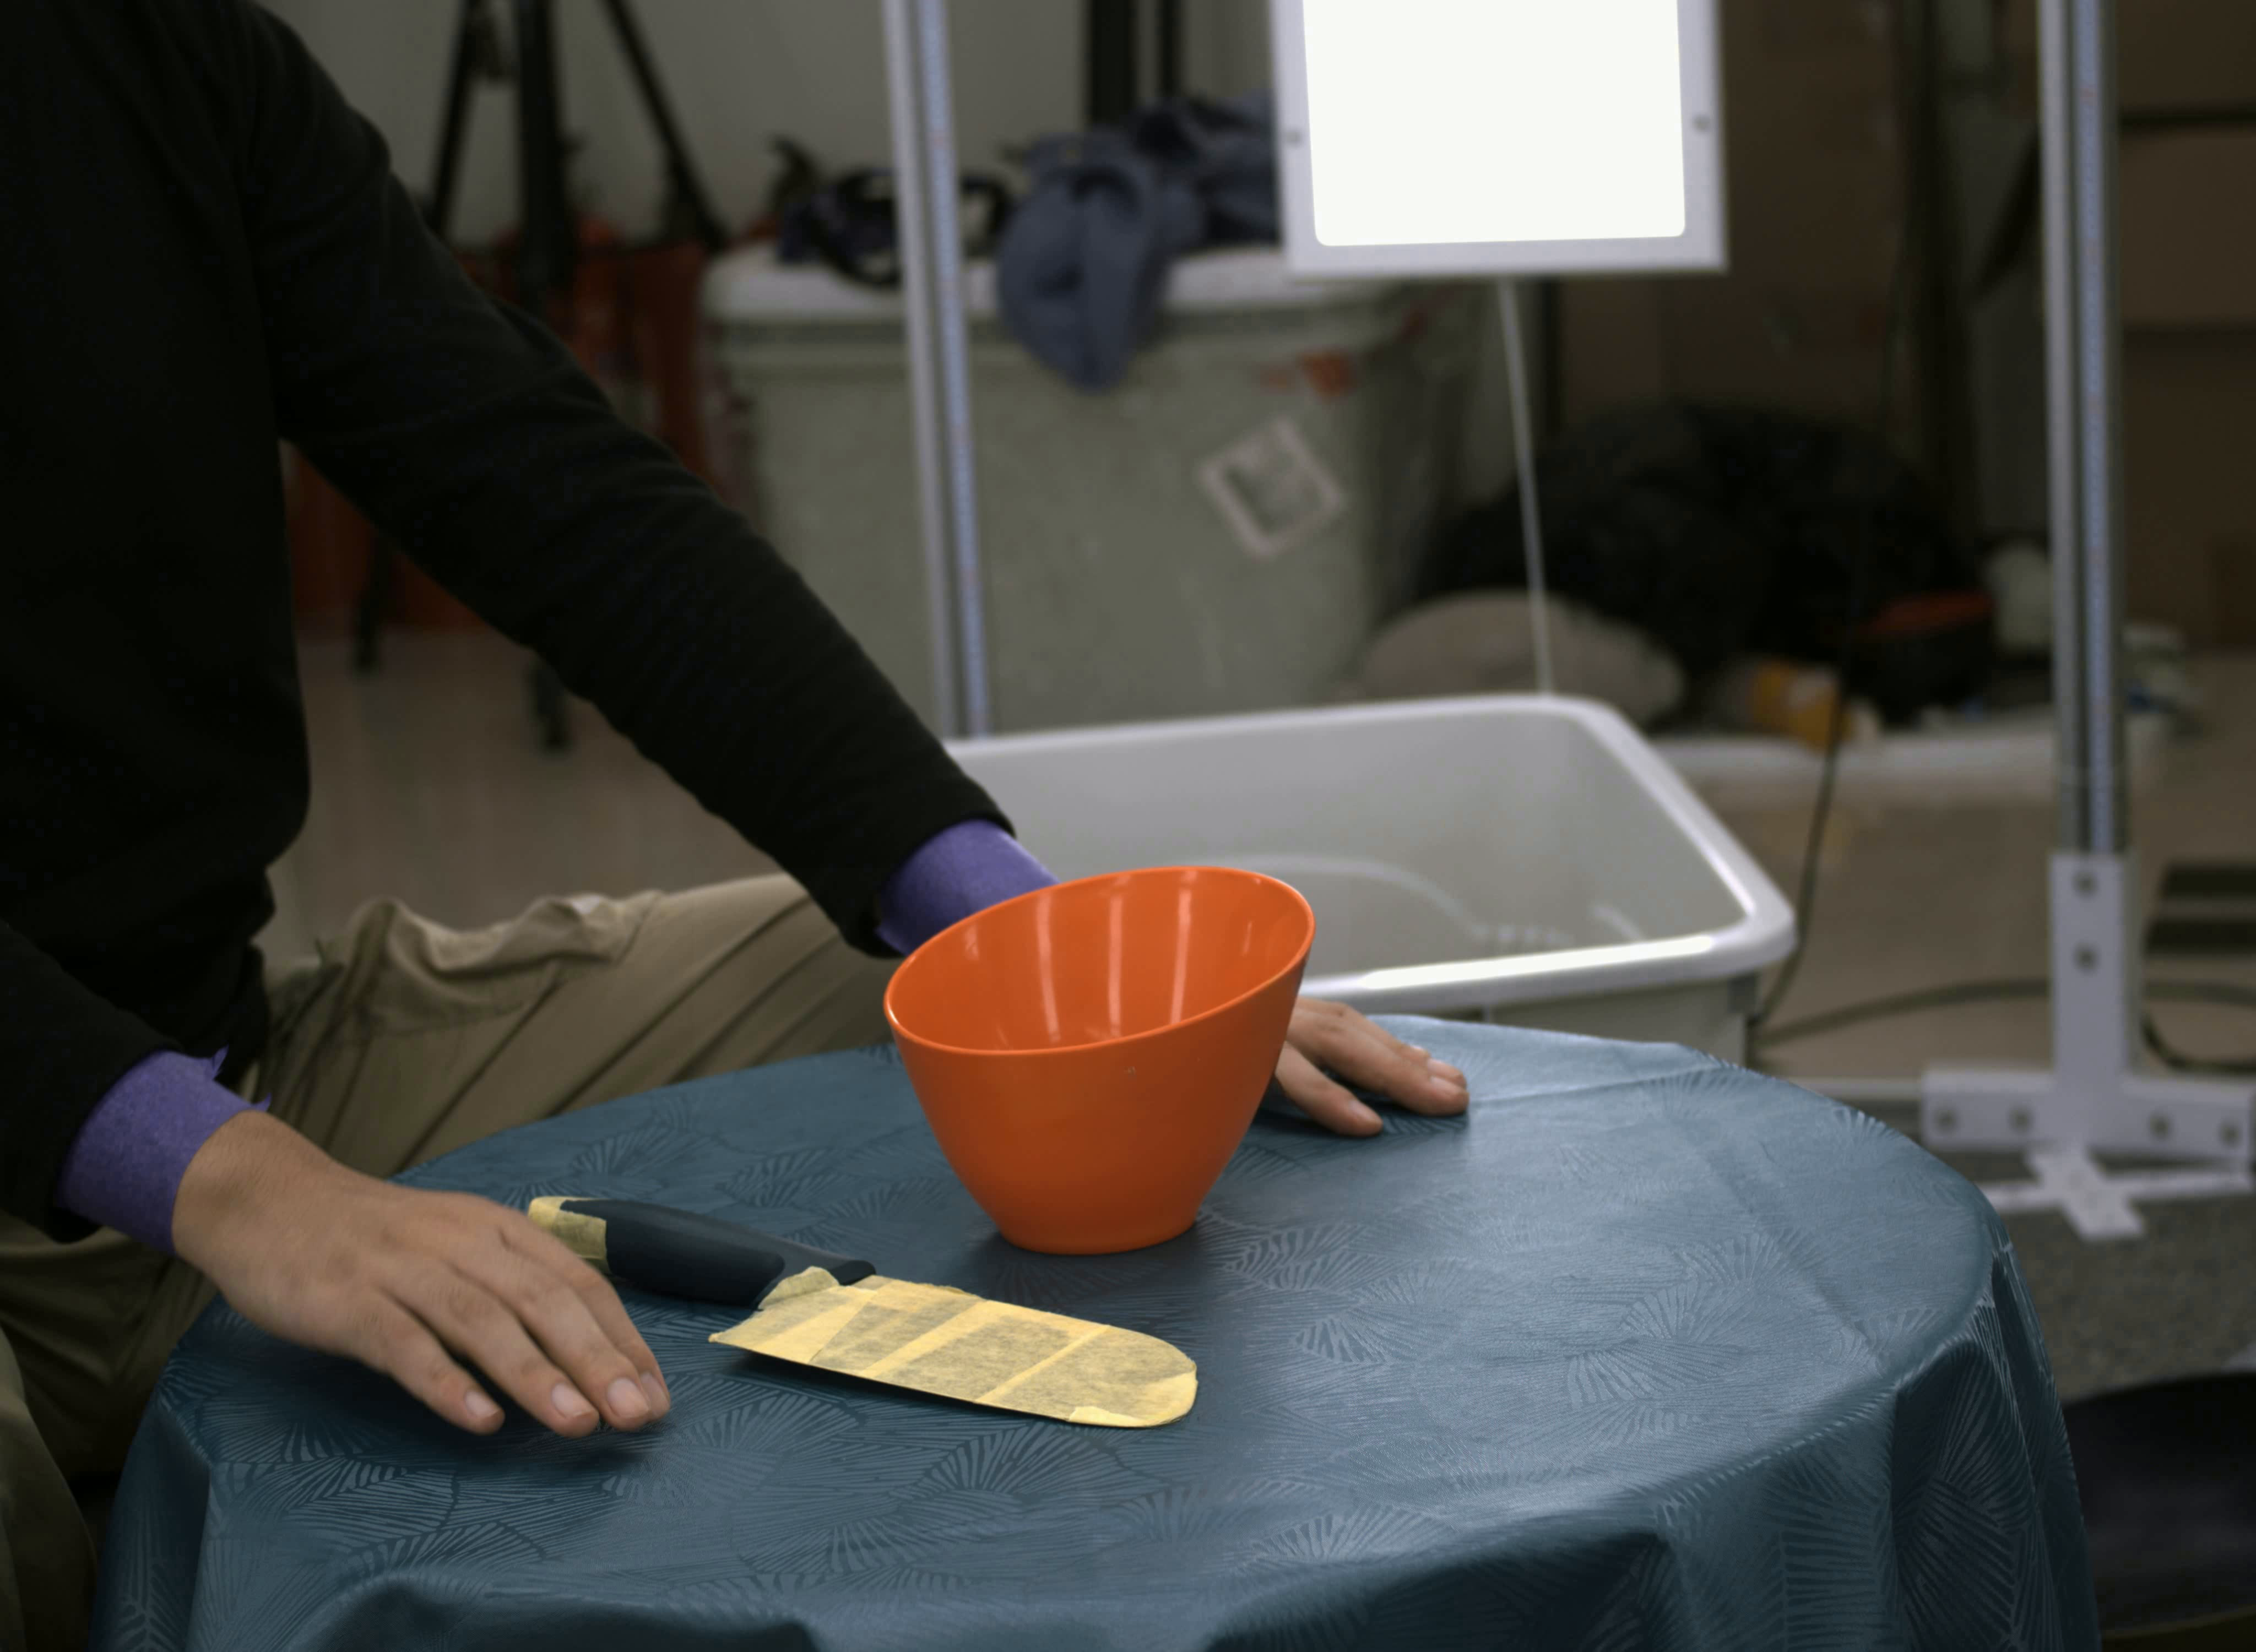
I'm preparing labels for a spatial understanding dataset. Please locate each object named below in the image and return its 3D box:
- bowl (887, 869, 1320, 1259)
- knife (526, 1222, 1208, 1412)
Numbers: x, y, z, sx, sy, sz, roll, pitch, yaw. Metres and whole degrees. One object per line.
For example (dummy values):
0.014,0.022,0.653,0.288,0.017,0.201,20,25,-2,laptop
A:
-0.006,0.084,1.861,0.147,0.105,0.148,-4,15,0,bowl
-0.092,0.160,1.771,0.295,0.027,0.079,7,16,39,knife
